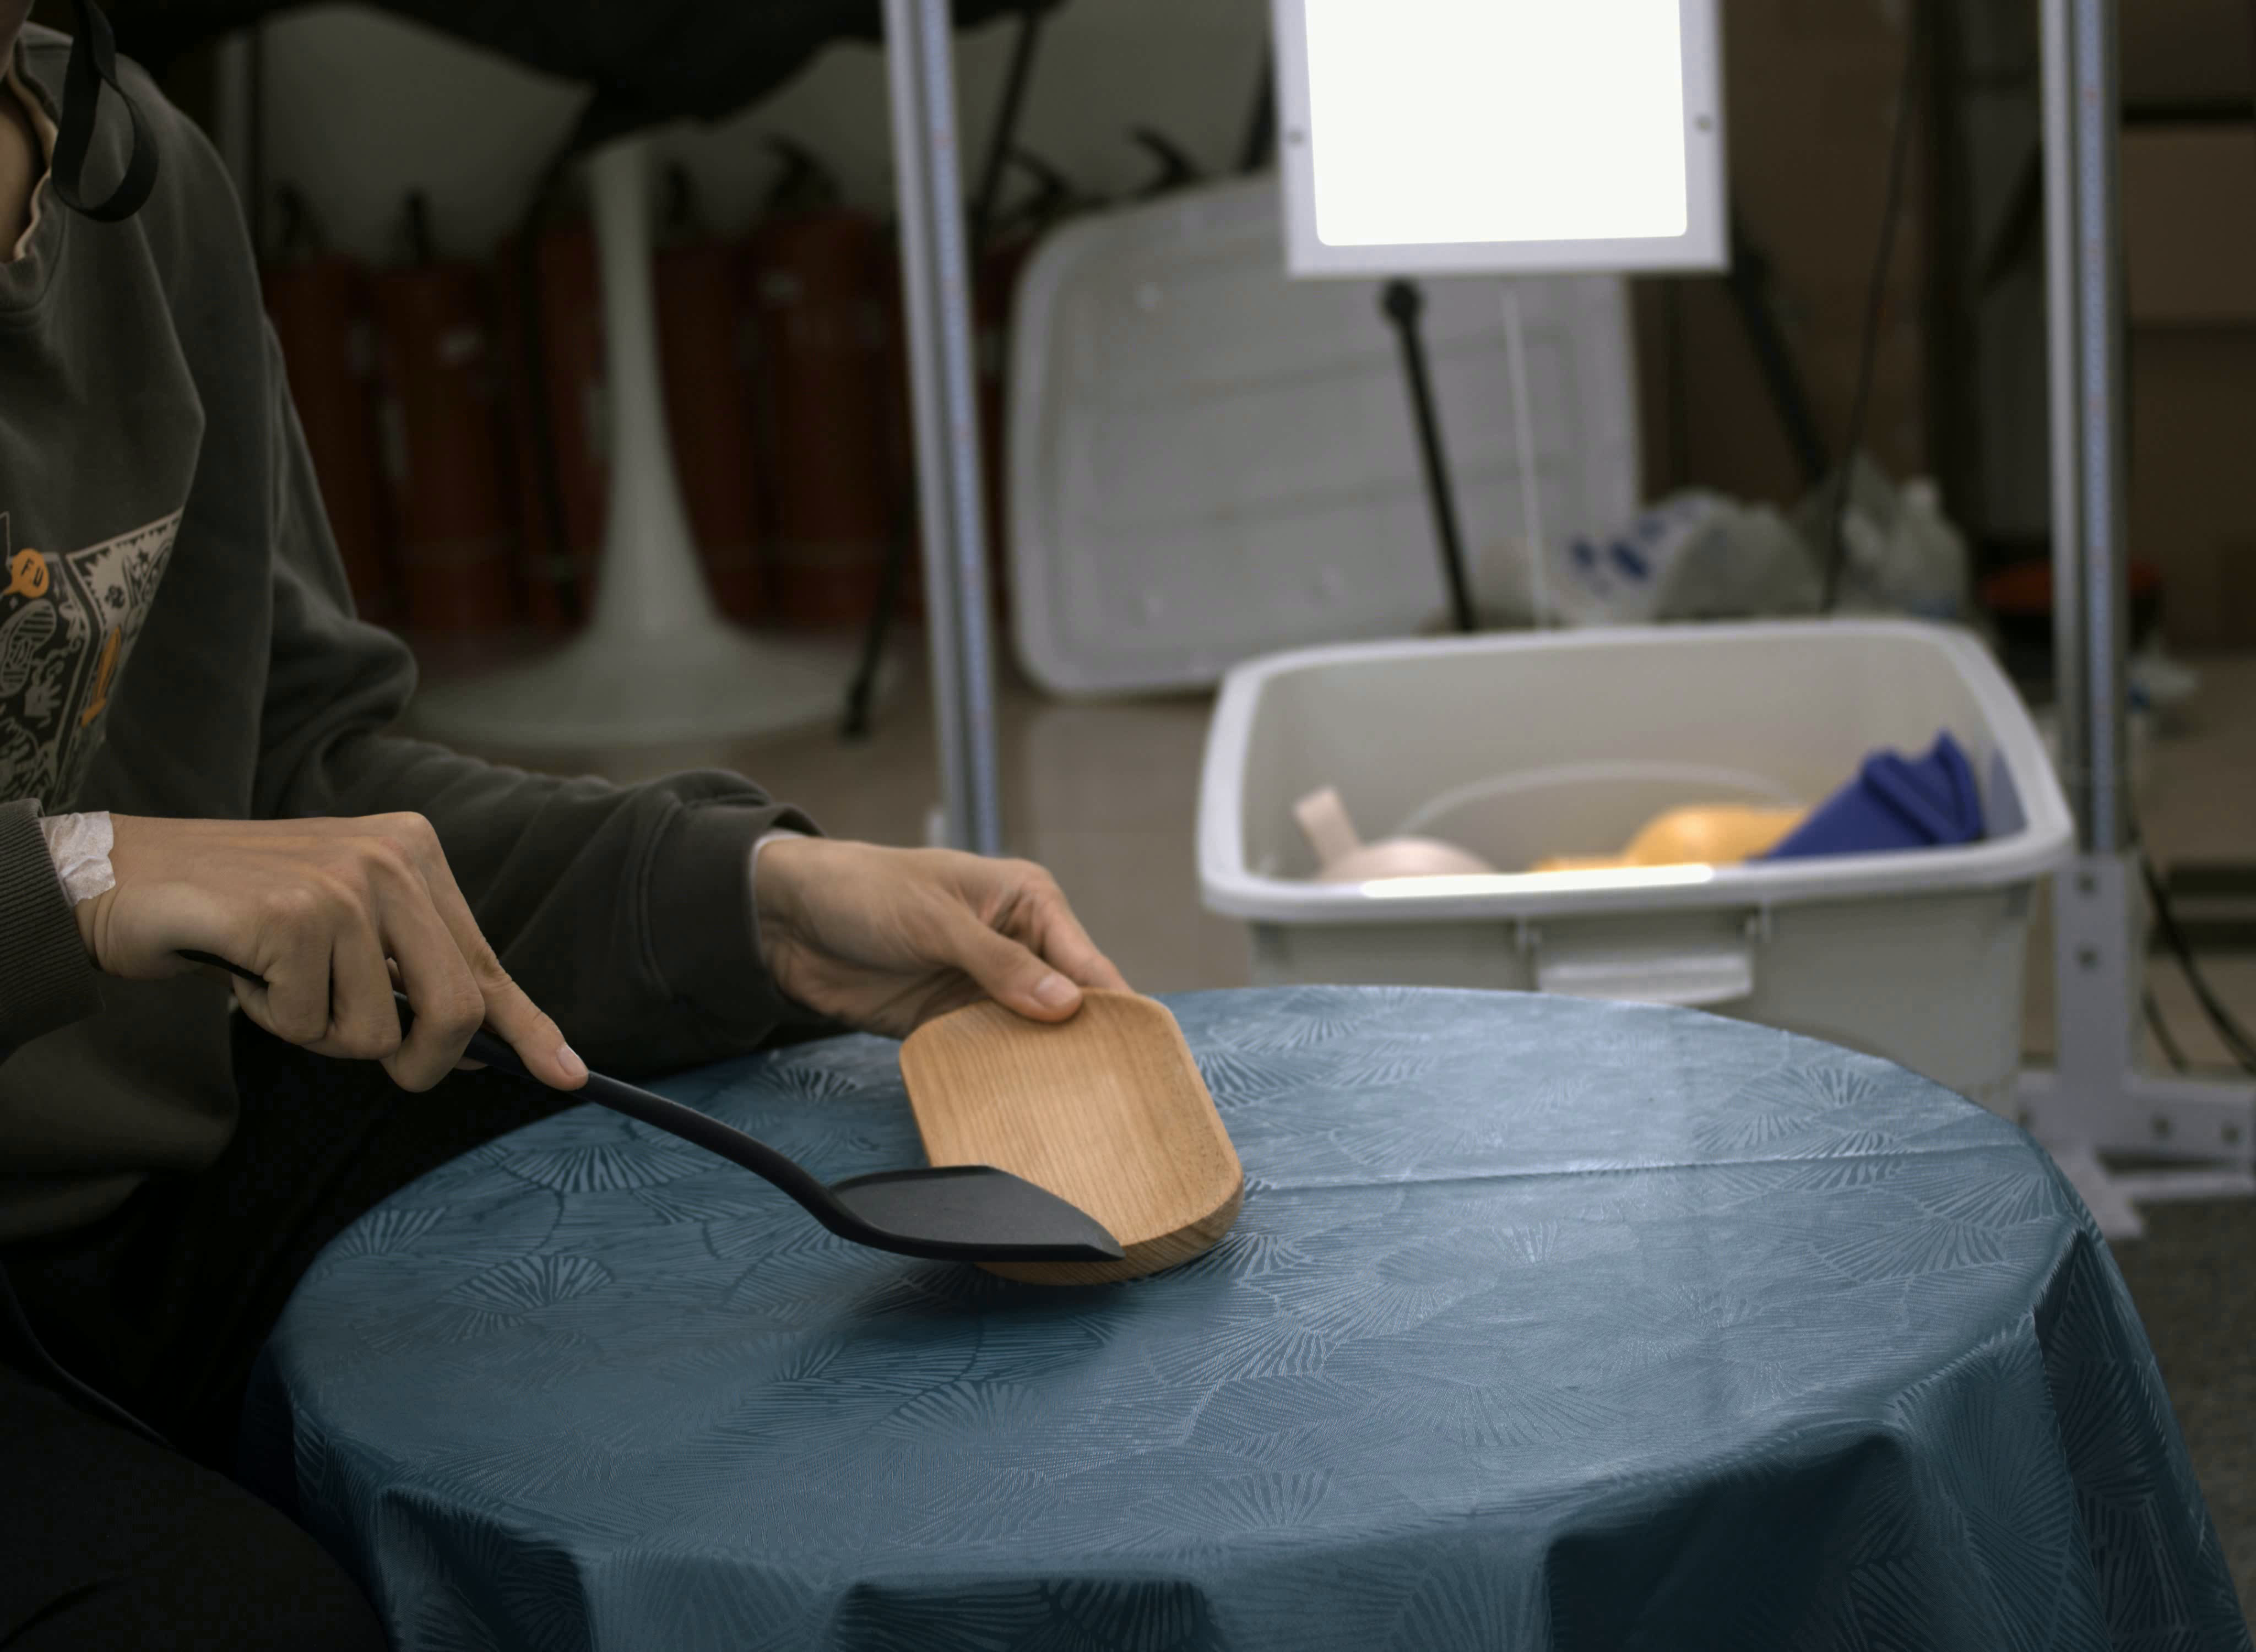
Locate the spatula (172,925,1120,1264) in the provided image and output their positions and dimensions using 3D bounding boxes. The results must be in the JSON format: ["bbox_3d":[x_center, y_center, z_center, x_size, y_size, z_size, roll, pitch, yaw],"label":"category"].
[{"bbox_3d":[-0.154,0.084,1.764,0.321,0.040,0.101,26,1,-22],"label":"spatula"}]

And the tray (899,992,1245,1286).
[{"bbox_3d":[-0.021,0.106,1.903,0.101,0.020,0.232,-11,22,-5],"label":"tray"}]
